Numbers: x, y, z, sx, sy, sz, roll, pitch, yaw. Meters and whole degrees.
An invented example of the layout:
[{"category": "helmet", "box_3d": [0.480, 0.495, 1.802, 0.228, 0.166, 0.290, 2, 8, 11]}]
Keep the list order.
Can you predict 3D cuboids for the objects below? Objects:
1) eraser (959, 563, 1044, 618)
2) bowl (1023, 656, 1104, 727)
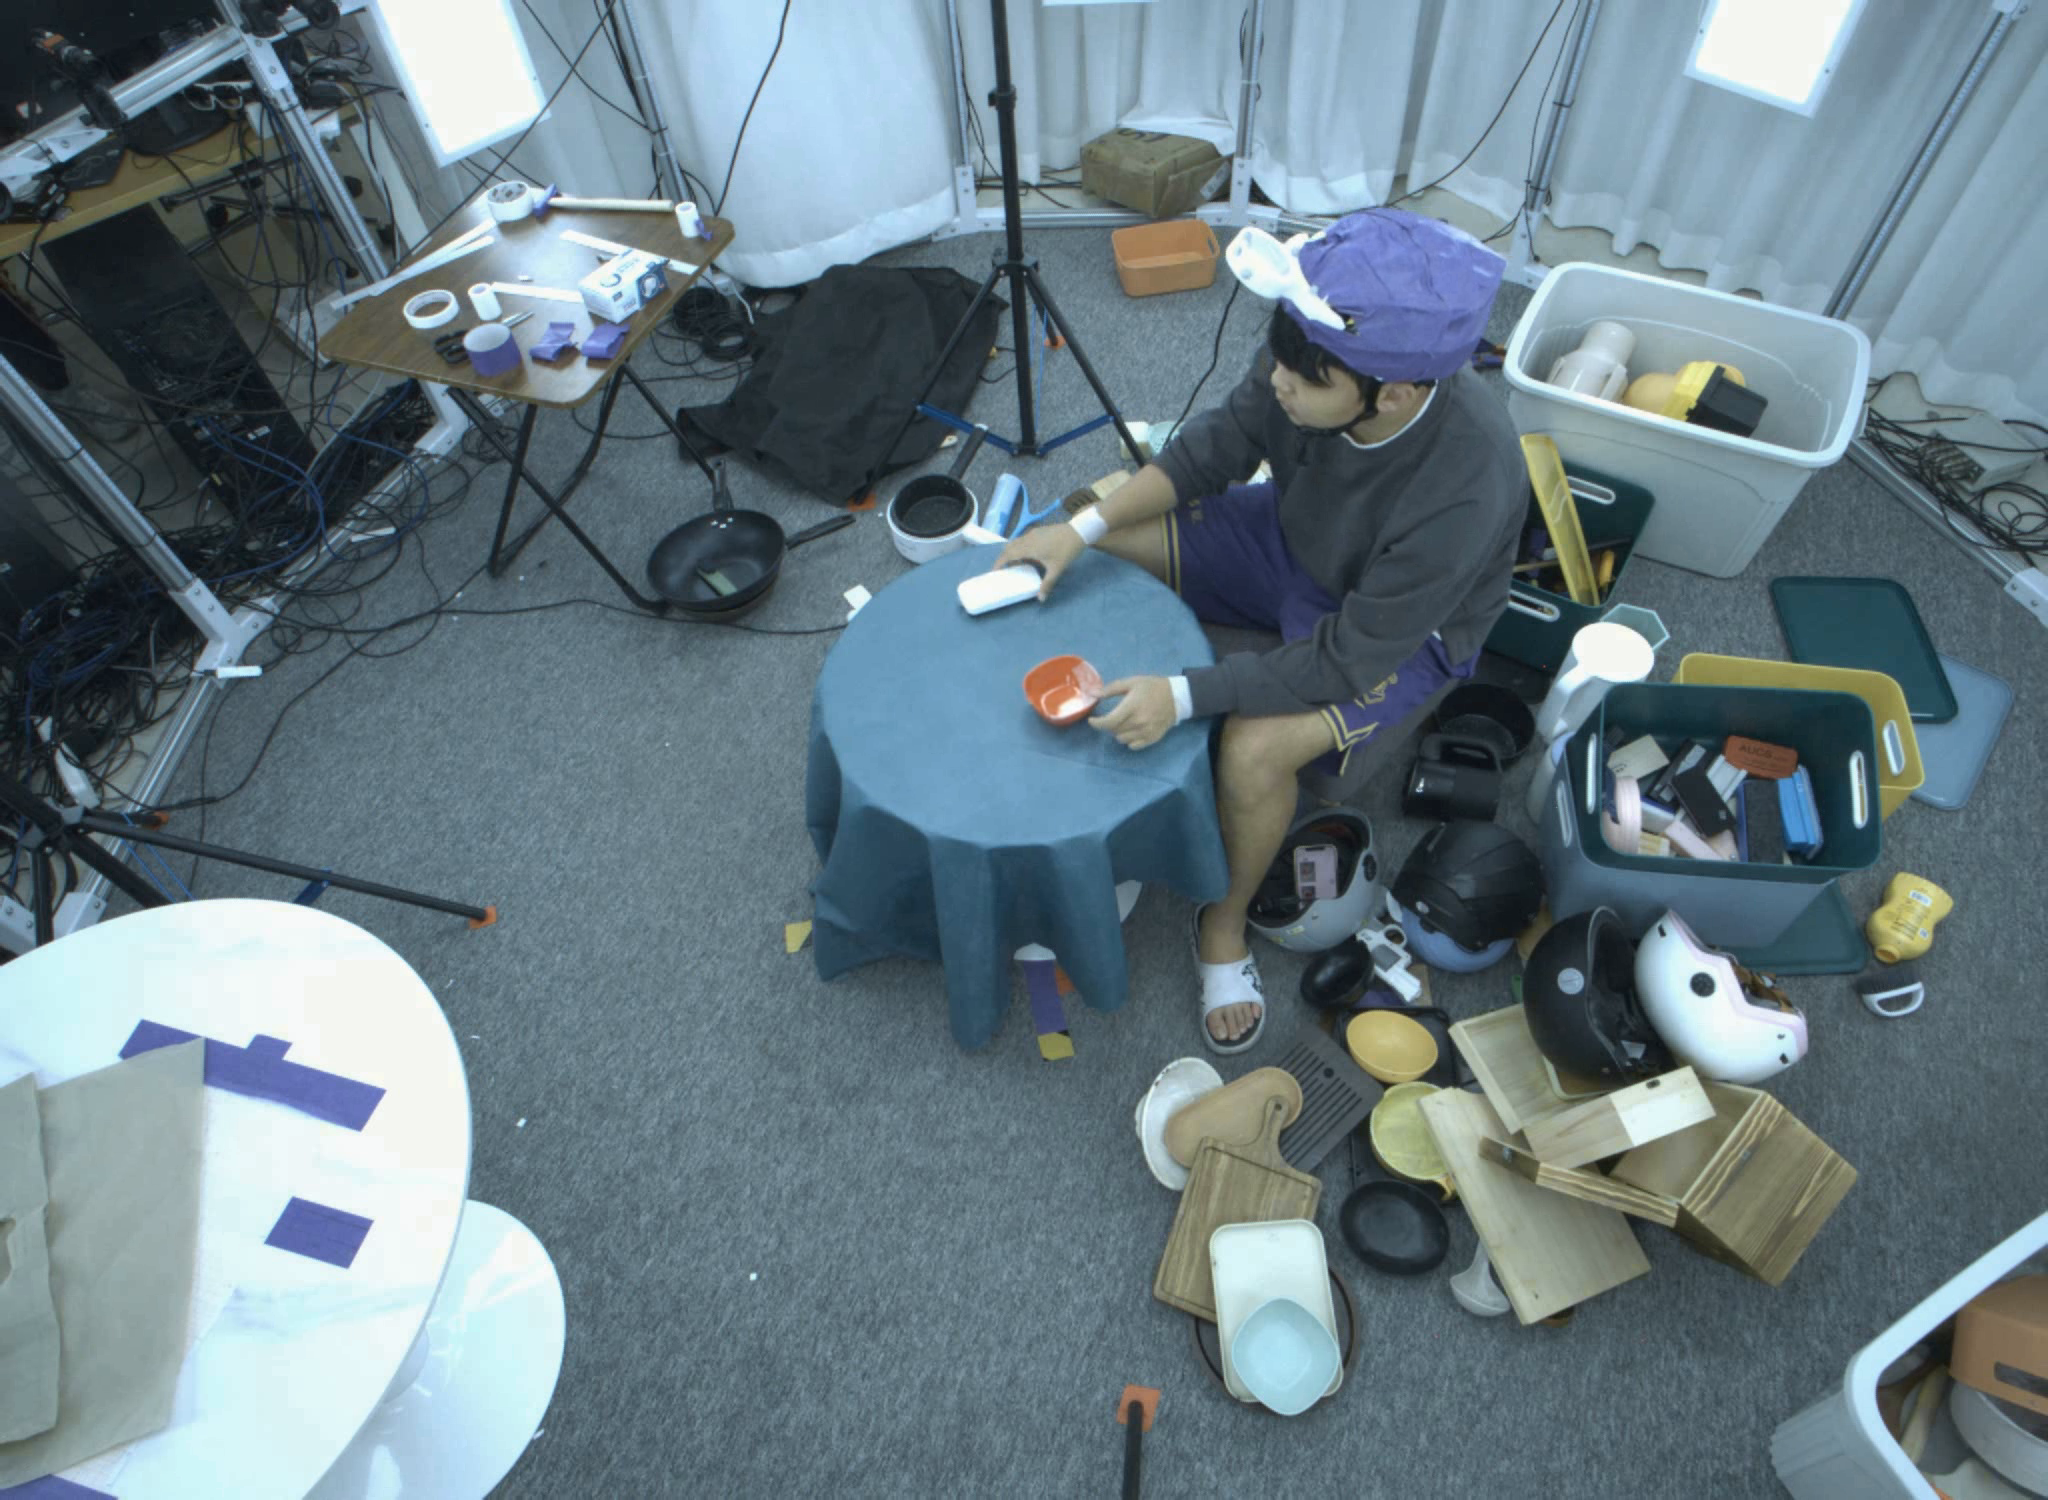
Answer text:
[{"category": "eraser", "box_3d": [-0.036, -0.254, 1.952, 0.132, 0.035, 0.062, -19, 57, -9]}, {"category": "bowl", "box_3d": [0.059, -0.079, 1.813, 0.119, 0.052, 0.117, -1, 54, 2]}]
